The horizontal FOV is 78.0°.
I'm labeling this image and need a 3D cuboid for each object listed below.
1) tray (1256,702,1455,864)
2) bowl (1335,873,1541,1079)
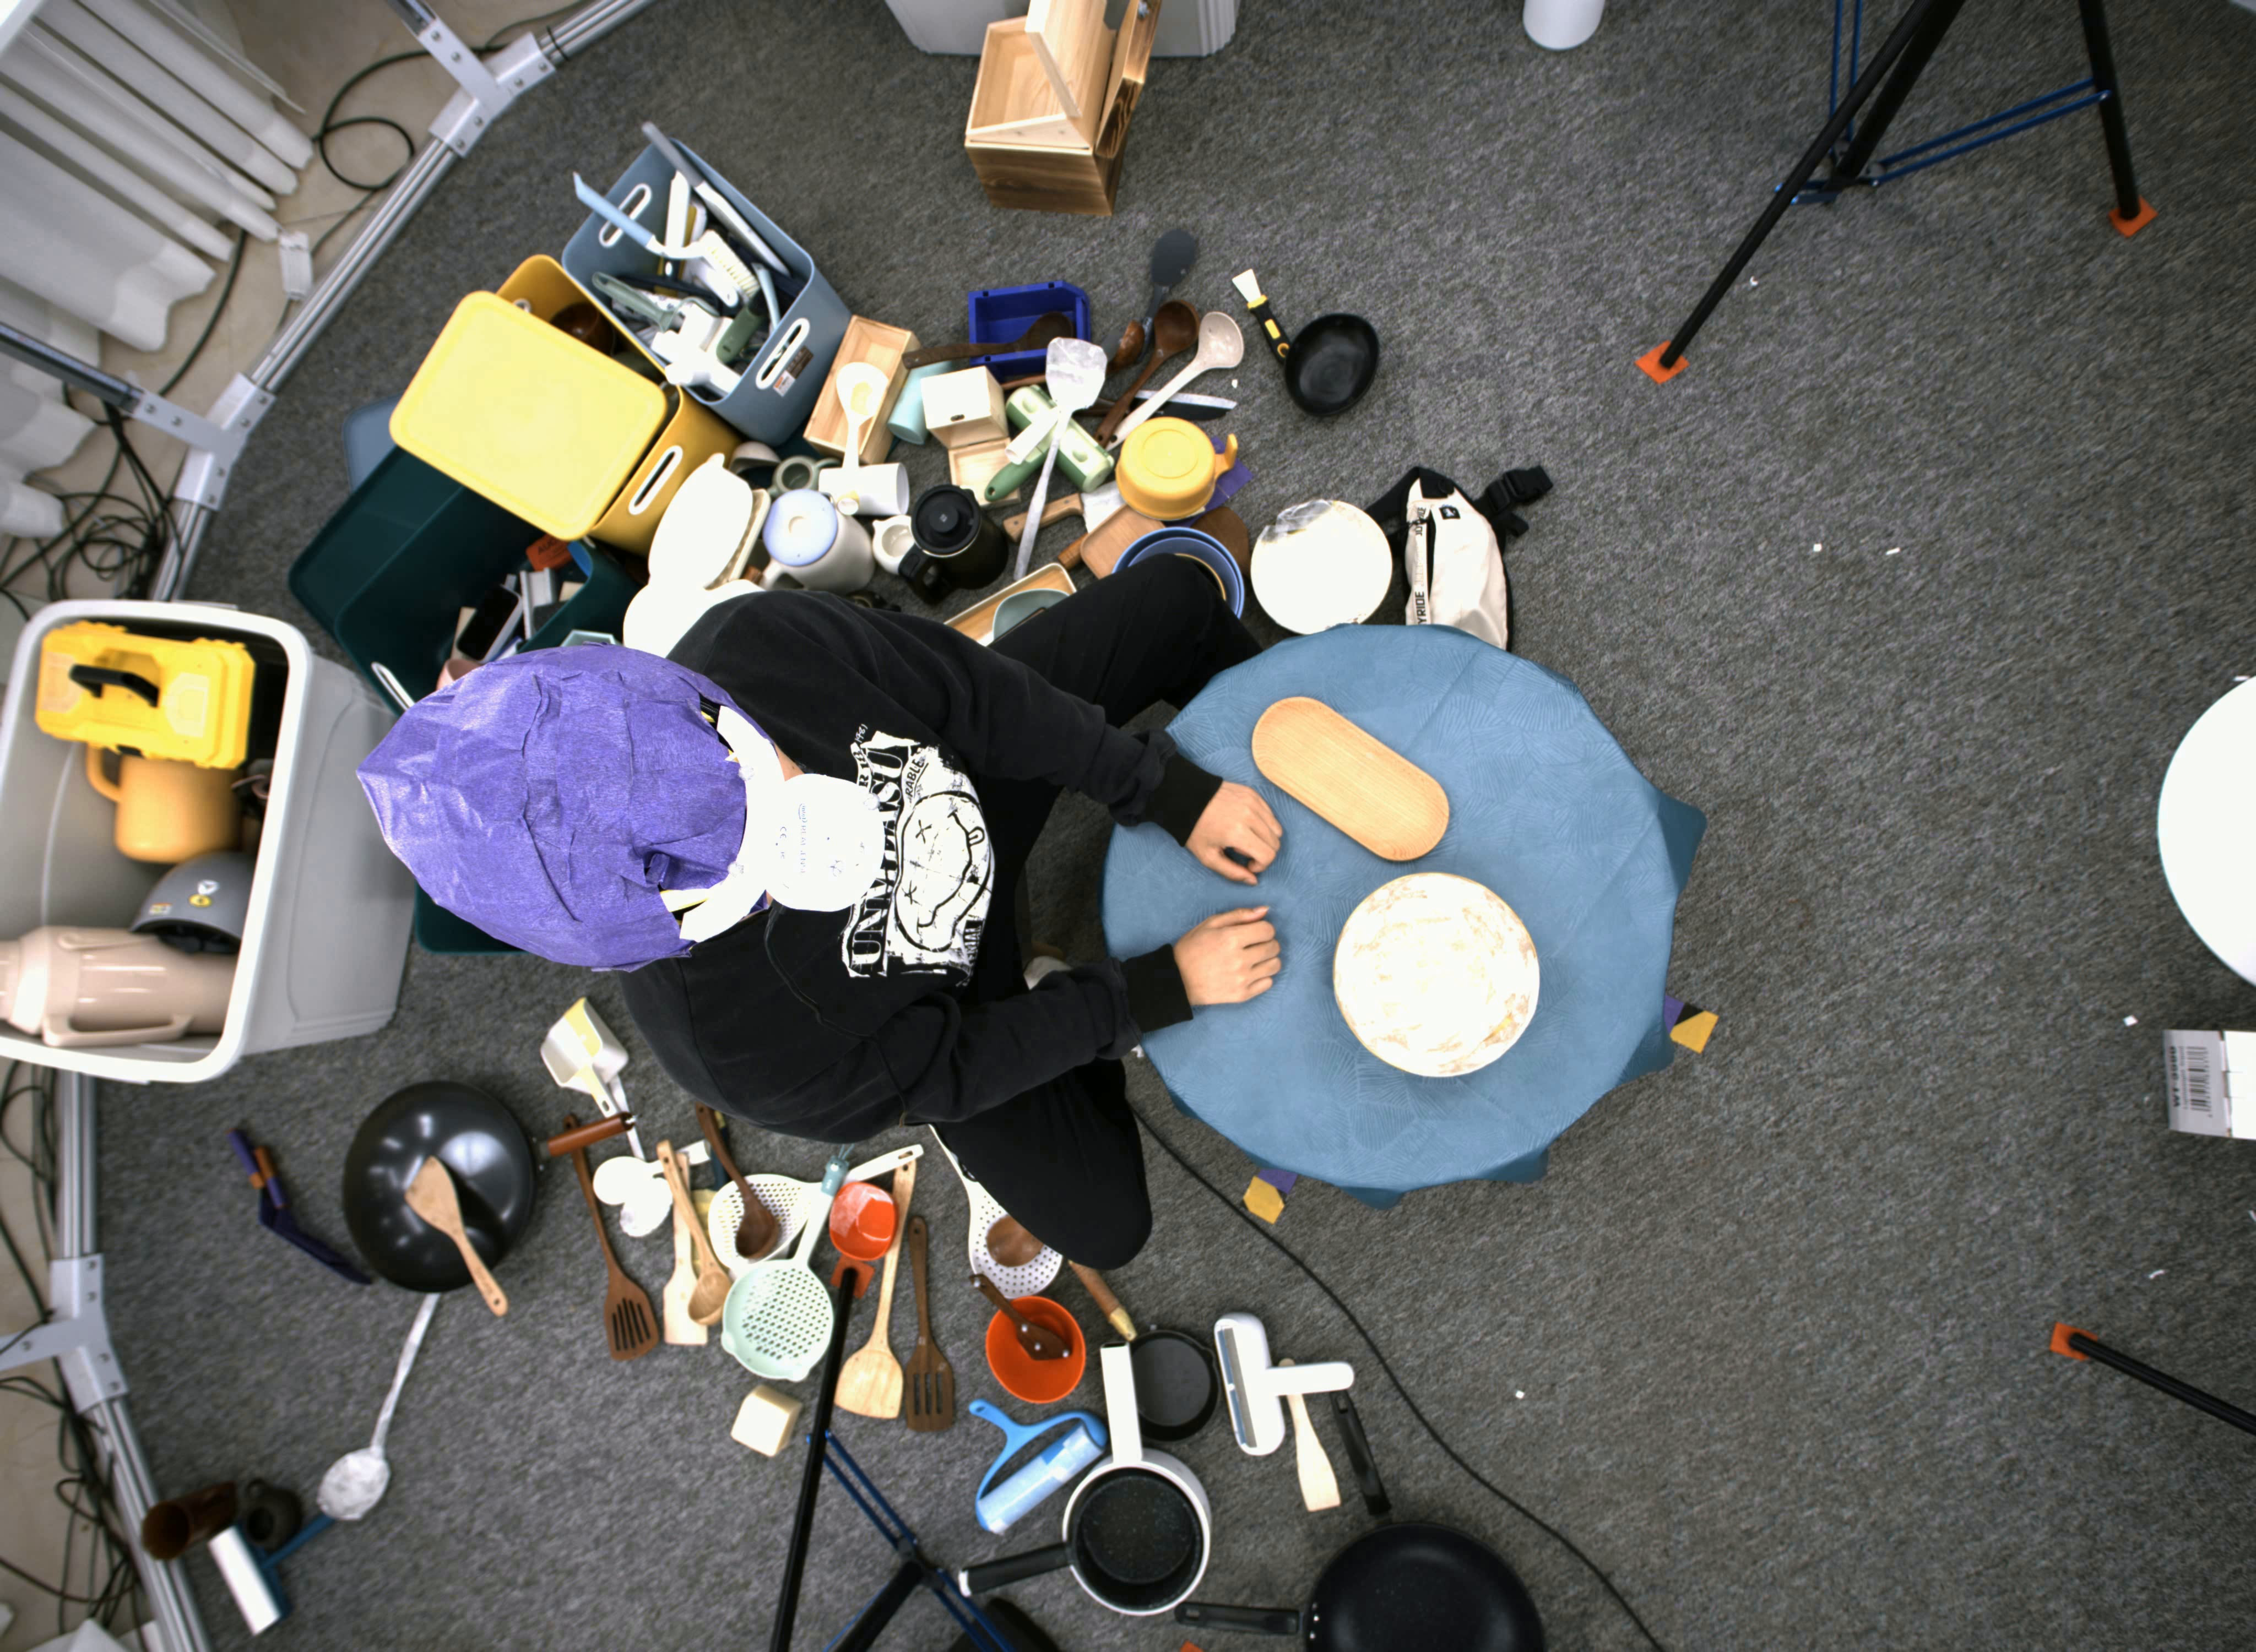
[{"bbox_3d":[0.241,-0.047,1.470,0.230,0.020,0.102,34,95,9],"label":"tray"},{"bbox_3d":[0.312,0.147,1.405,0.215,0.094,0.214,-1,86,11],"label":"bowl"}]
